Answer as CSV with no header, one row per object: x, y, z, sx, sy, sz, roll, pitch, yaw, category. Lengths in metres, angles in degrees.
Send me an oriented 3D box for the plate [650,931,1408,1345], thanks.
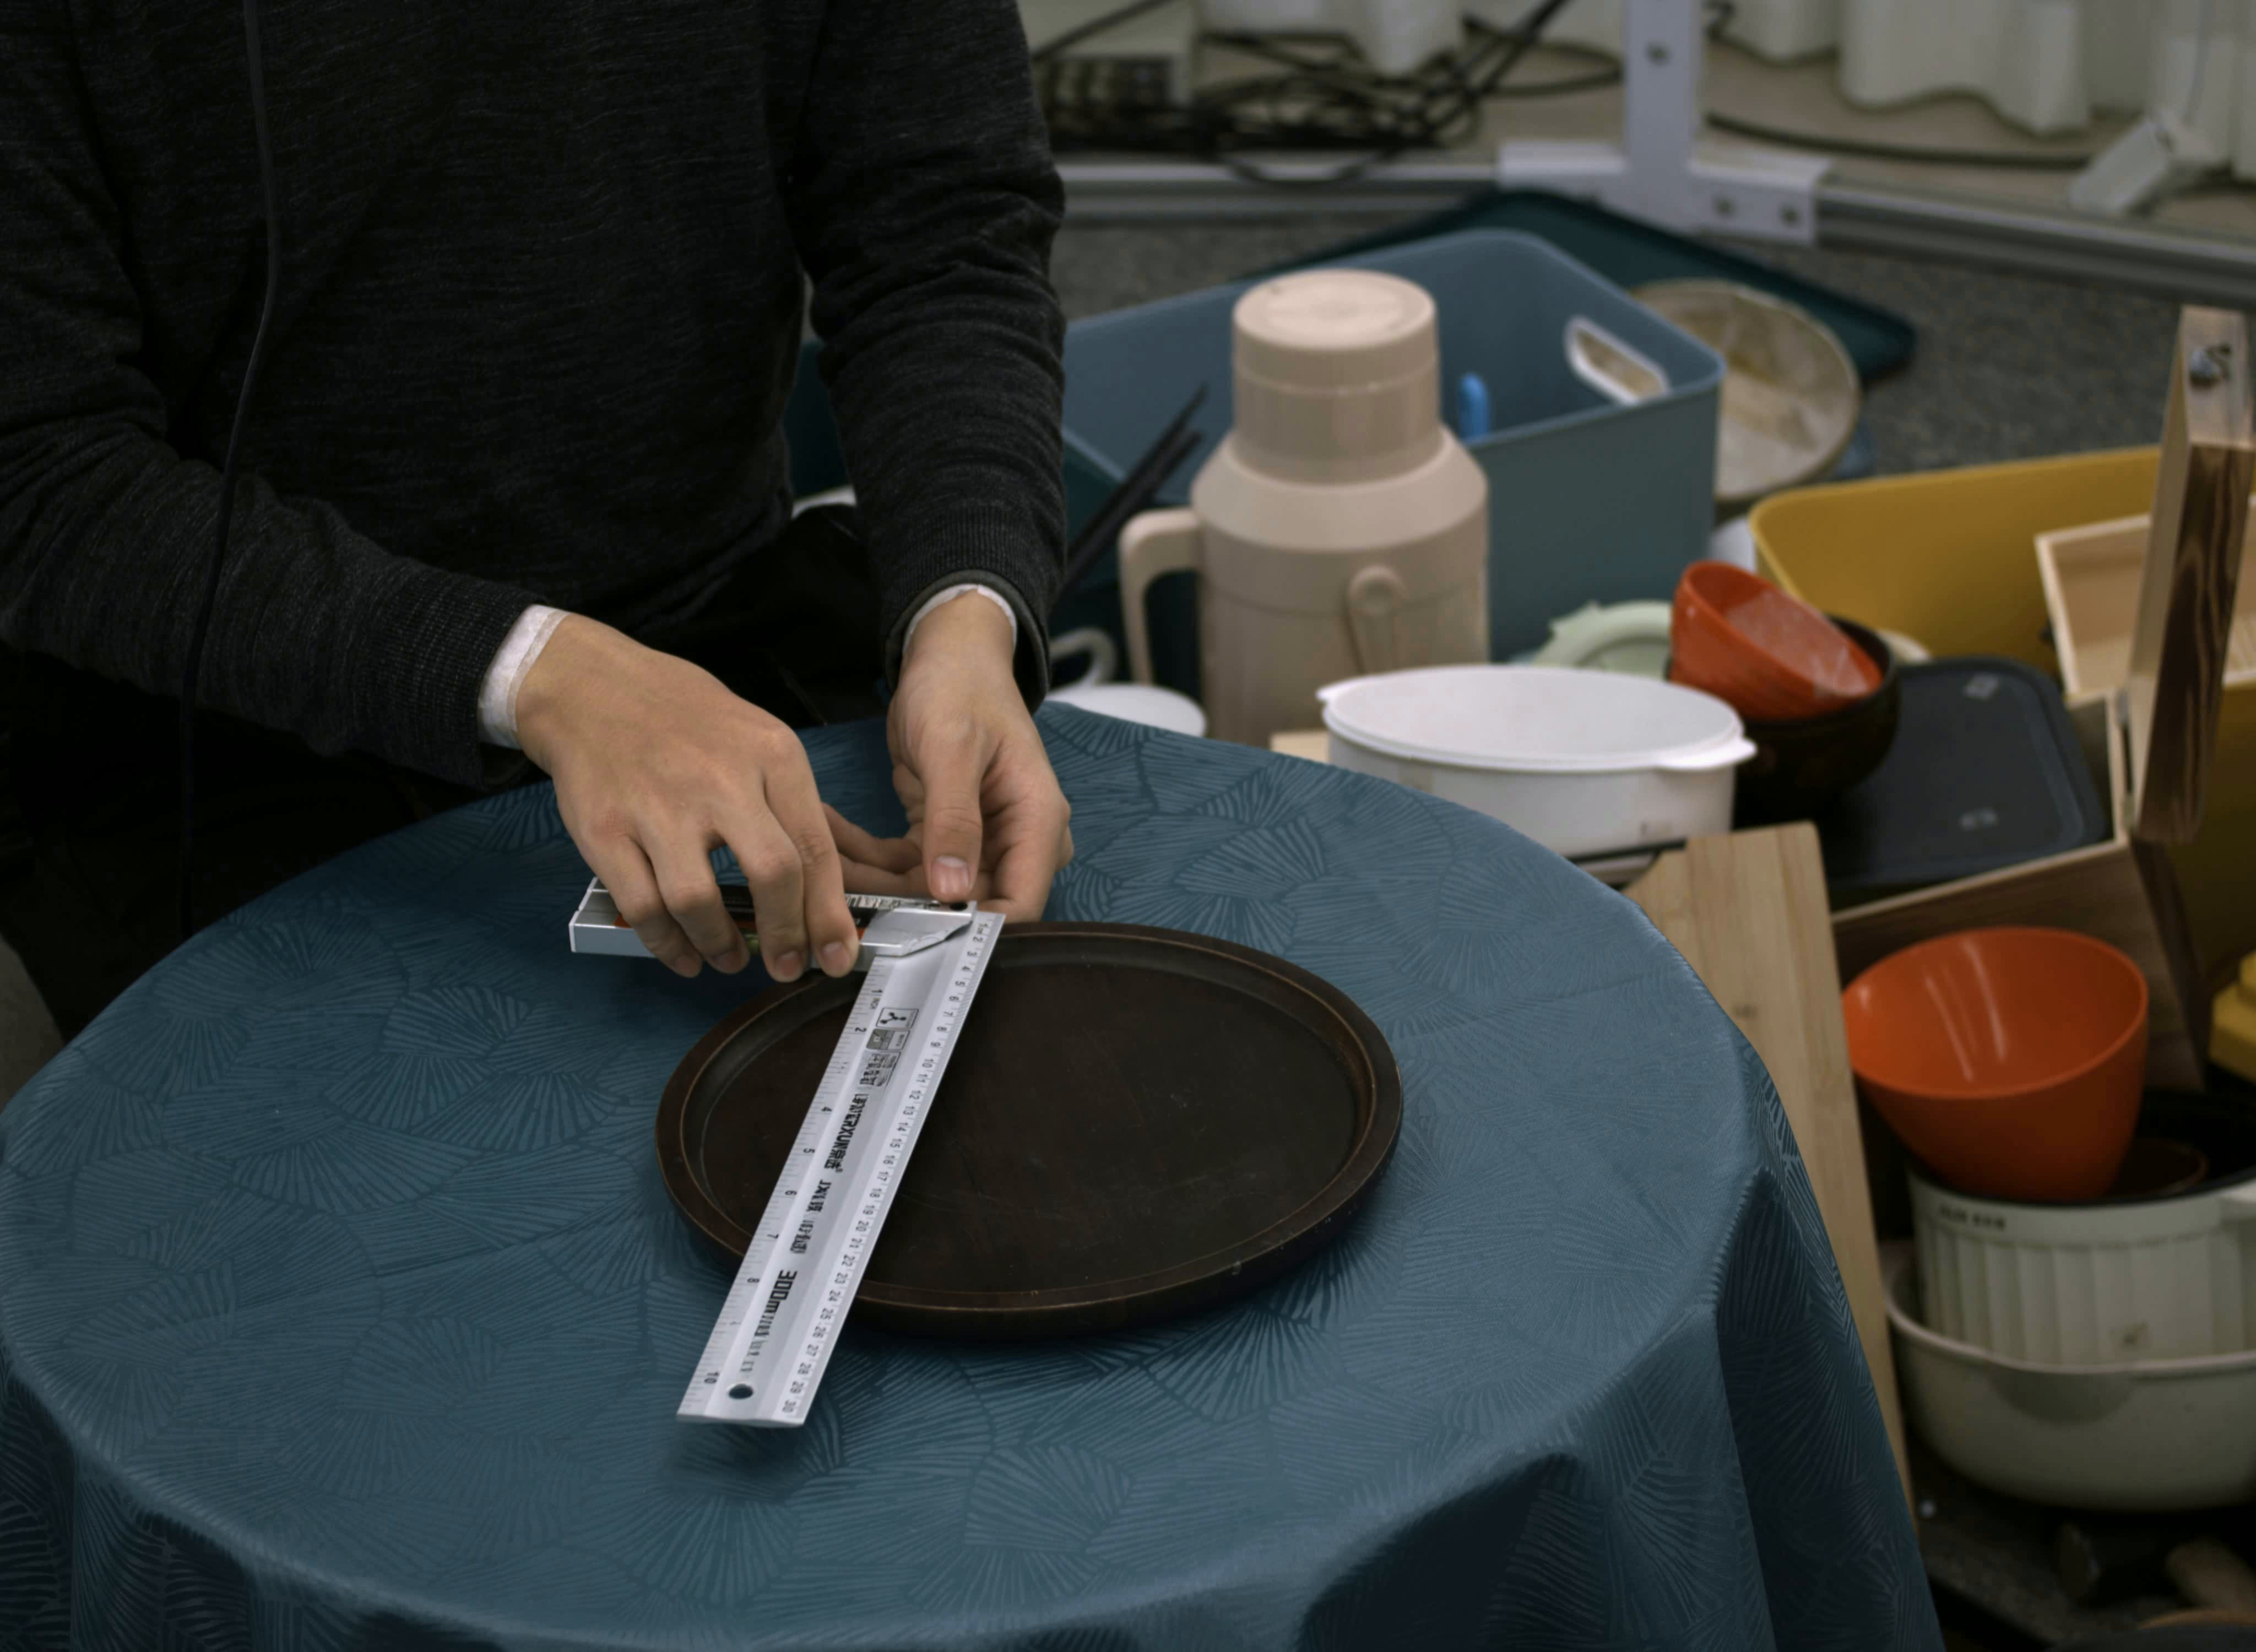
-0.032,0.102,1.878,0.253,0.029,0.259,-1,28,1,plate

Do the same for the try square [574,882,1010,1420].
-0.142,0.102,1.858,0.151,0.016,0.318,3,29,10,try square
